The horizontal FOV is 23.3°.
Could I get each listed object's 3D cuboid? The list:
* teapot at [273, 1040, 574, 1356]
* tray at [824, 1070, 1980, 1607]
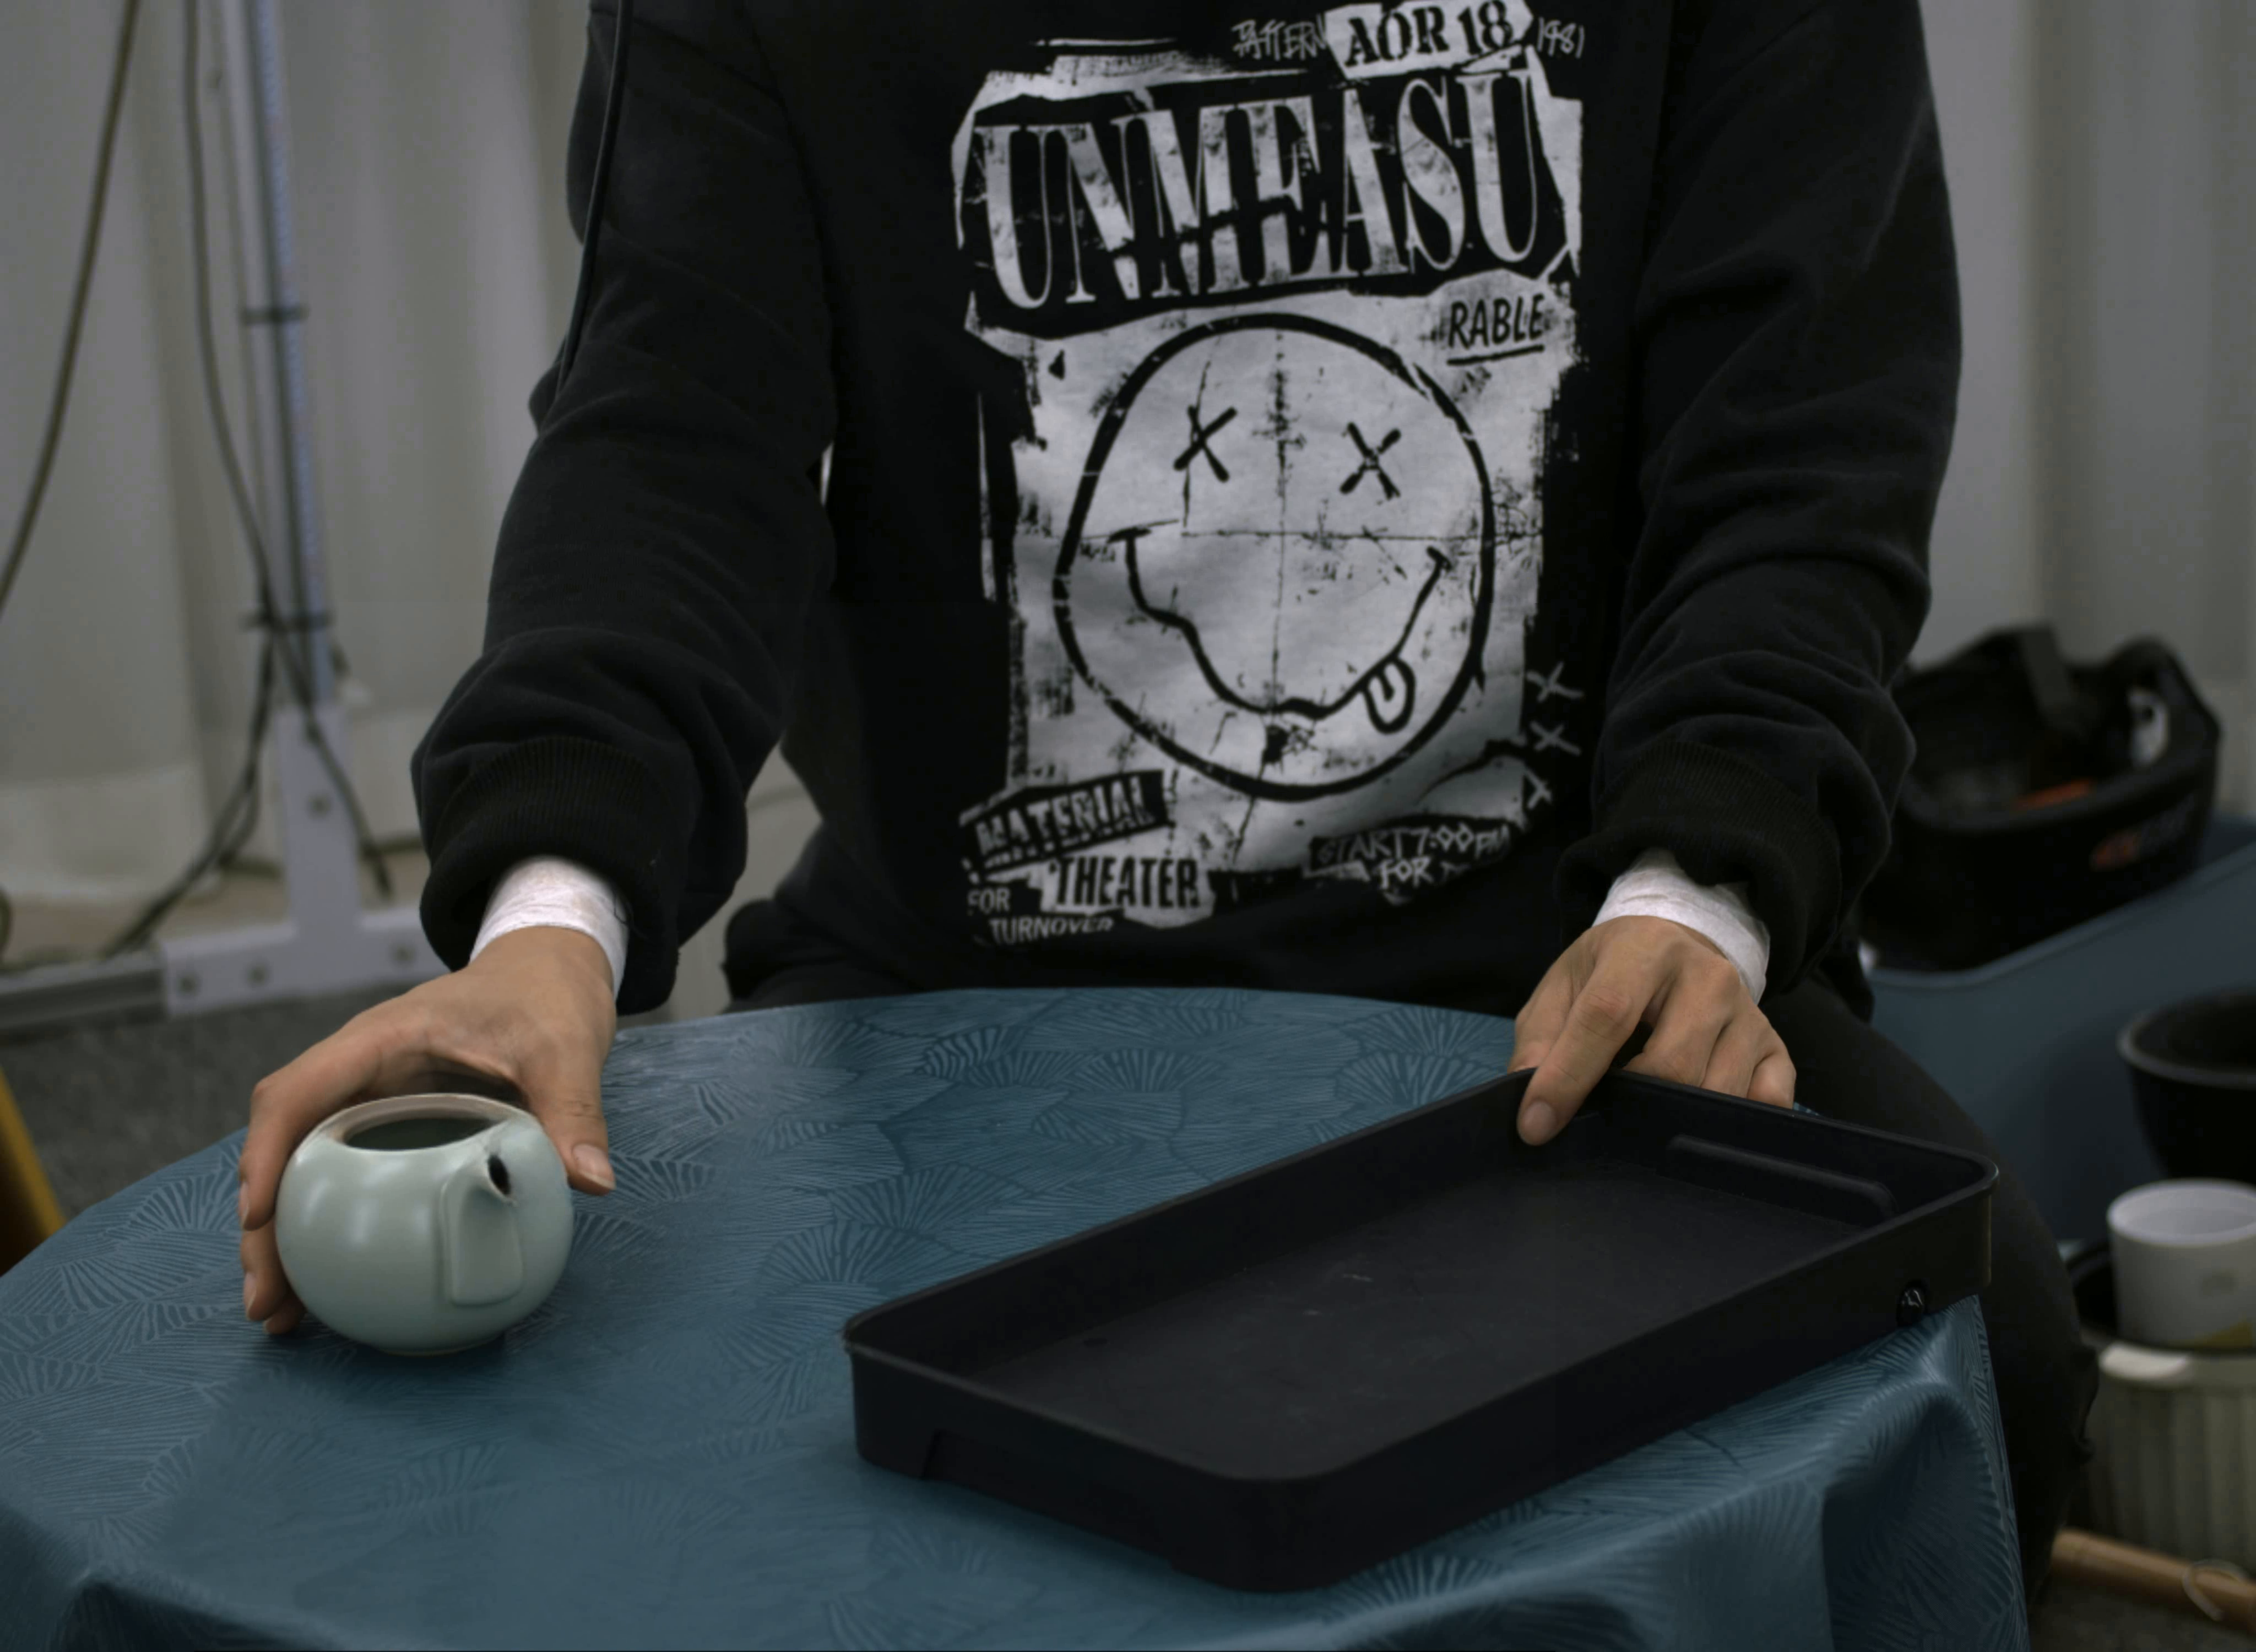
[{"bbox_3d":[-0.207,0.115,1.612,0.088,0.074,0.145,-9,18,-26],"label":"teapot"},{"bbox_3d":[0.083,0.137,1.545,0.185,0.037,0.317,12,20,43],"label":"tray"}]
